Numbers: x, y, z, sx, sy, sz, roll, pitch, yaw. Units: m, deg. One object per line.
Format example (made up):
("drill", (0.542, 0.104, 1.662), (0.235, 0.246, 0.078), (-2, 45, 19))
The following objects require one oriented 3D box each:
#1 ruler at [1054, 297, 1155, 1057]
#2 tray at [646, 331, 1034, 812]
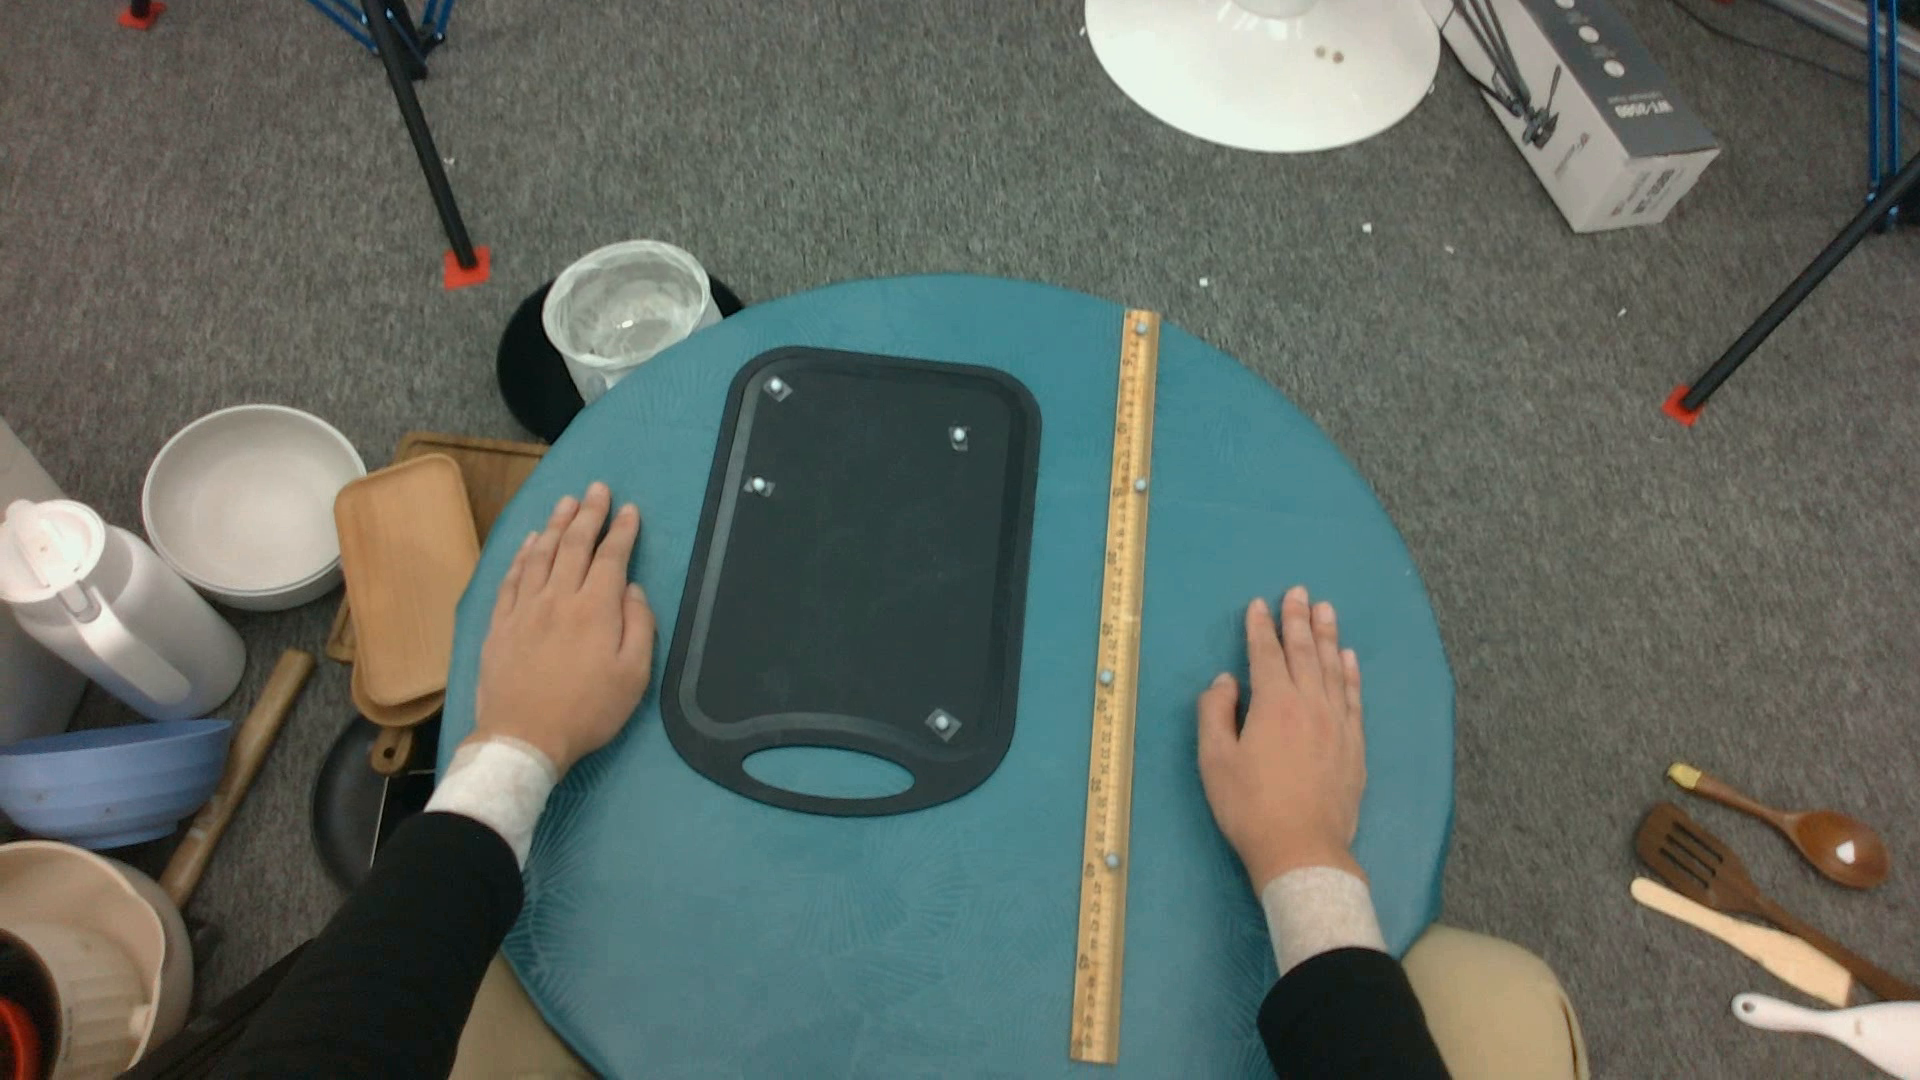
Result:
("ruler", (0.092, 0.051, 0.838), (0.027, 0.006, 0.502), (7, 62, 3))
("tray", (-0.068, 0.008, 0.850), (0.211, 0.010, 0.327), (7, 62, 0))
